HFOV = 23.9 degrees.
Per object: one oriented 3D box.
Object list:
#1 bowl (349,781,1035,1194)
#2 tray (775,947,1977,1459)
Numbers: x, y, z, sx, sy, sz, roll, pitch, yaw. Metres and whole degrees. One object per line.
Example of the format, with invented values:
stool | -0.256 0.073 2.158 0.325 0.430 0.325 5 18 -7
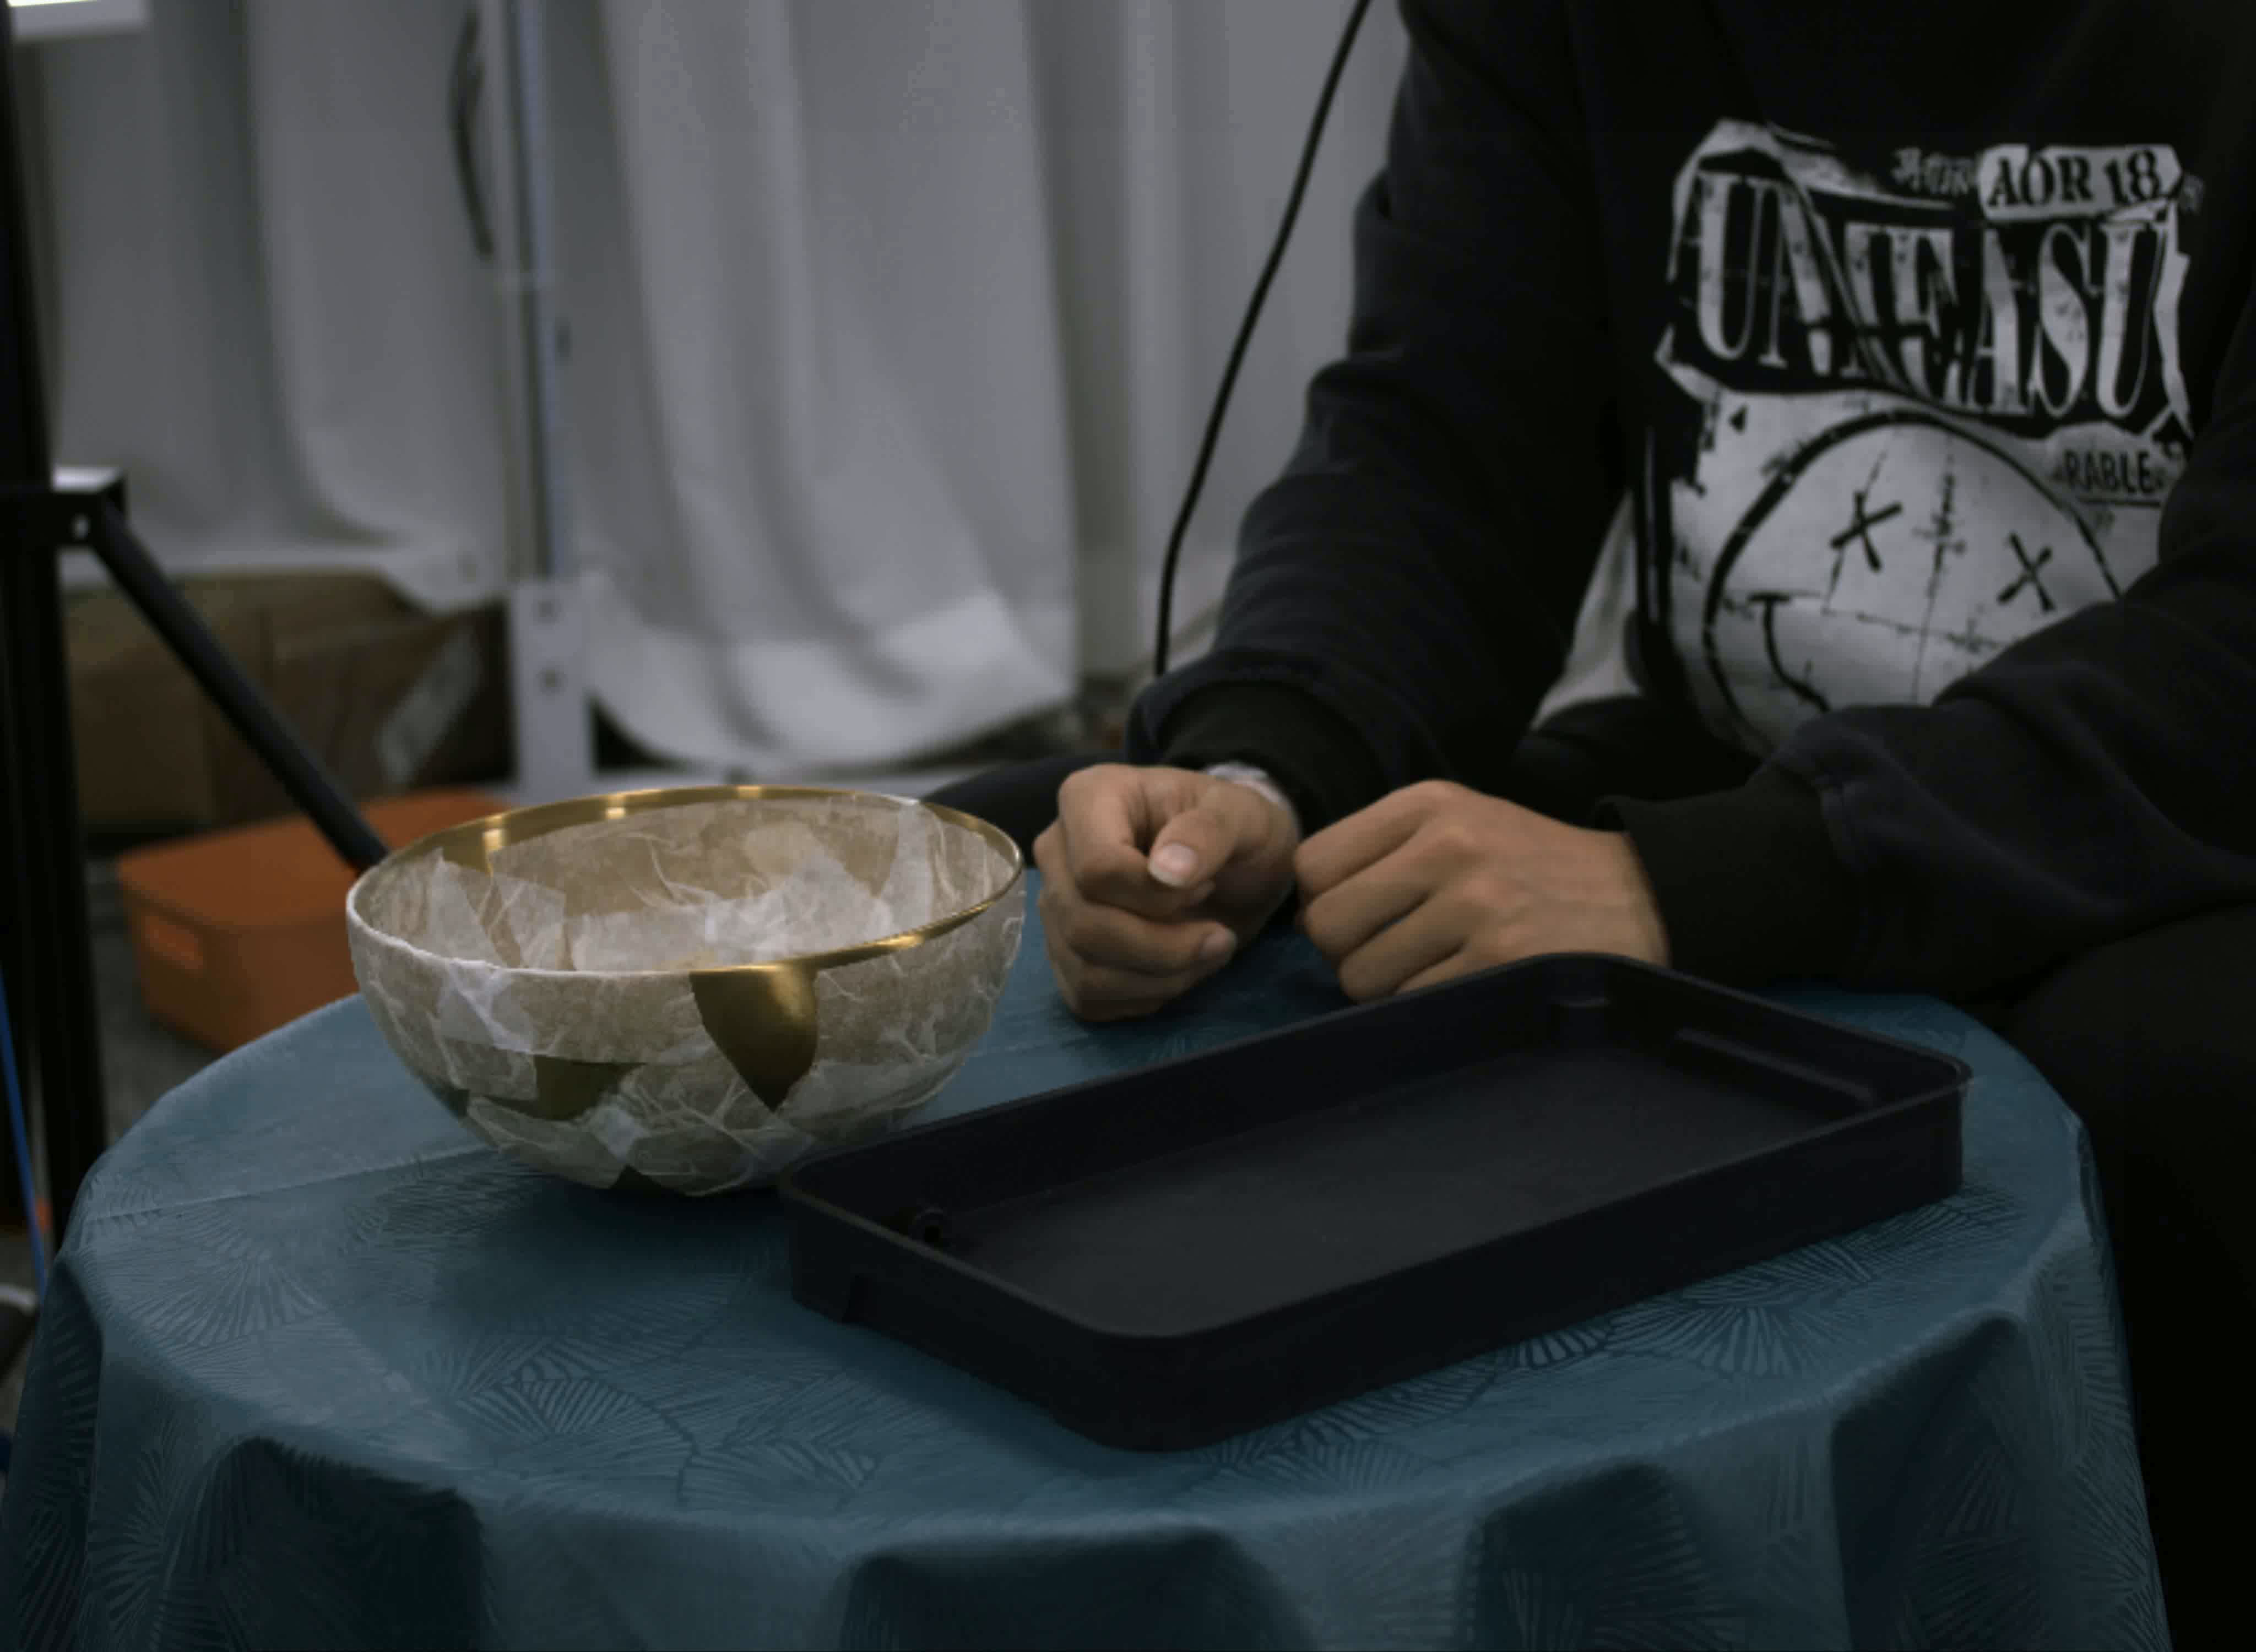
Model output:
bowl | -0.124 0.056 1.594 0.213 0.094 0.216 -4 15 0
tray | 0.073 0.101 1.507 0.311 0.037 0.188 -14 20 -33
